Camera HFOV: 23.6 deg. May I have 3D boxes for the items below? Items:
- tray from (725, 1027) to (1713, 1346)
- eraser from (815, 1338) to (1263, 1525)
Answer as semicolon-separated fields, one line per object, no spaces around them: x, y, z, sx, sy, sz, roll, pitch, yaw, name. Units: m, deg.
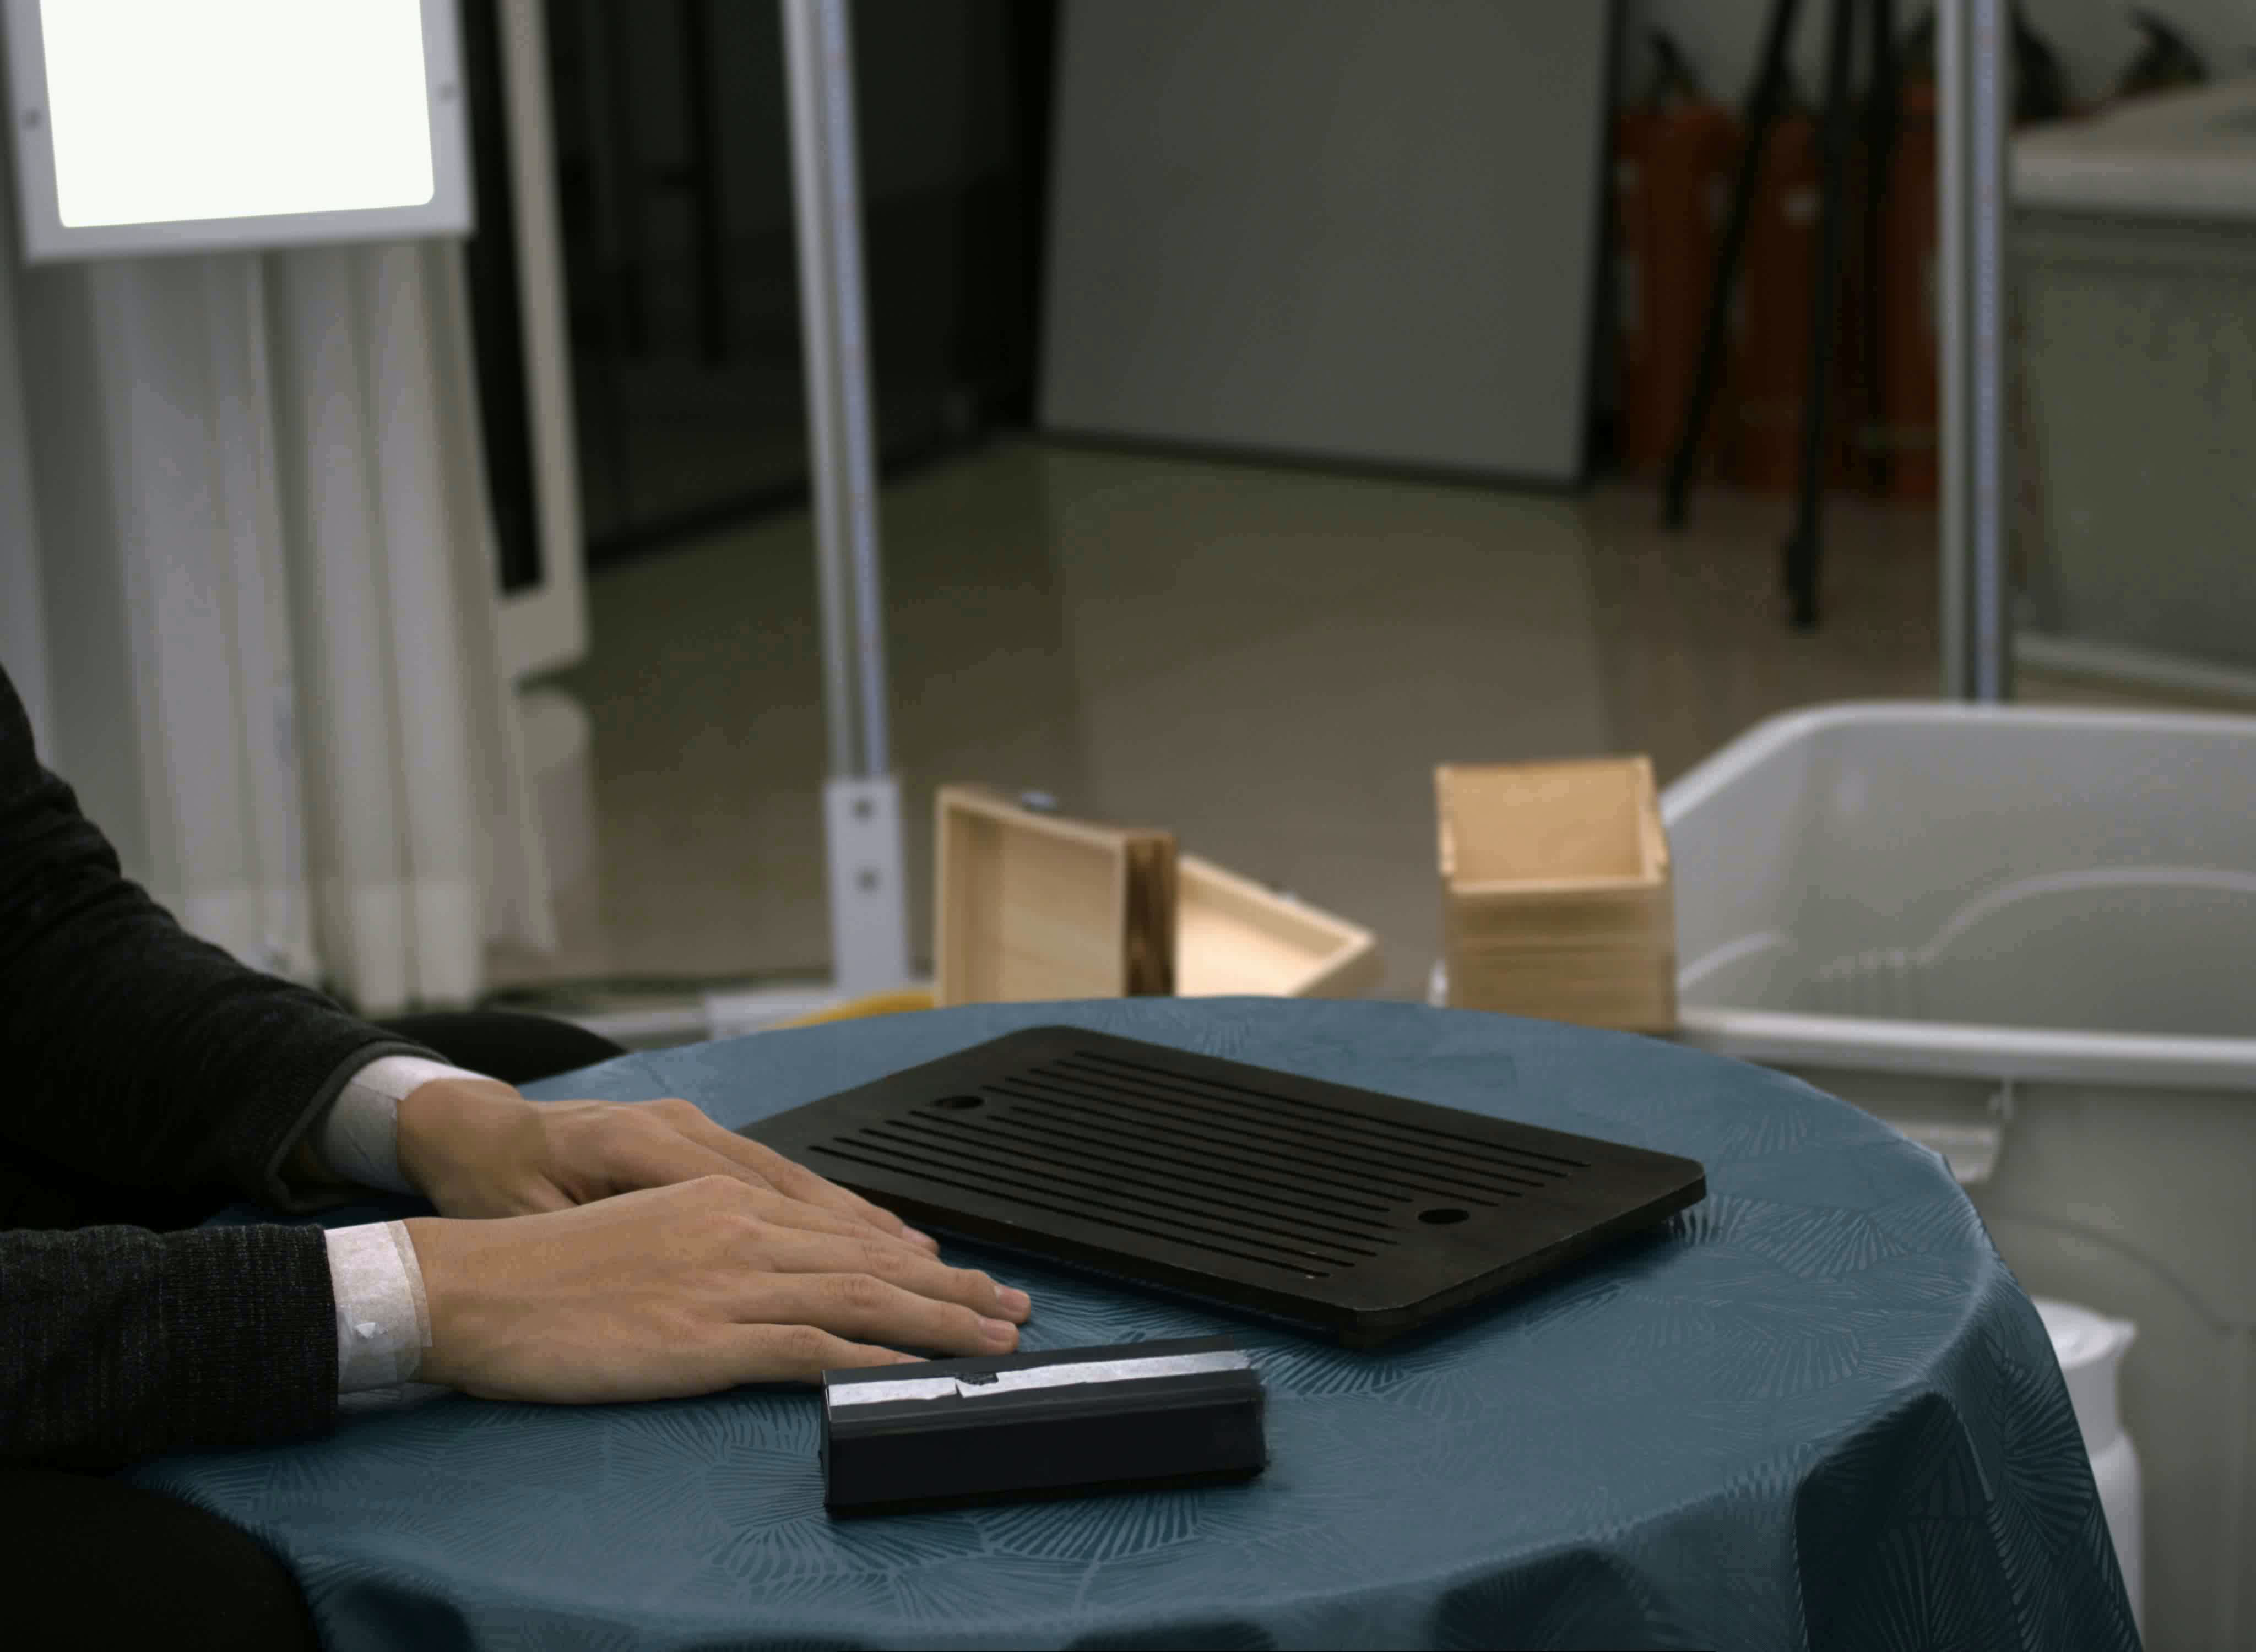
0.026;0.114;1.753;0.309;0.019;0.166;9;19;44;tray
-0.025;0.170;1.520;0.123;0.031;0.054;-6;11;-4;eraser
